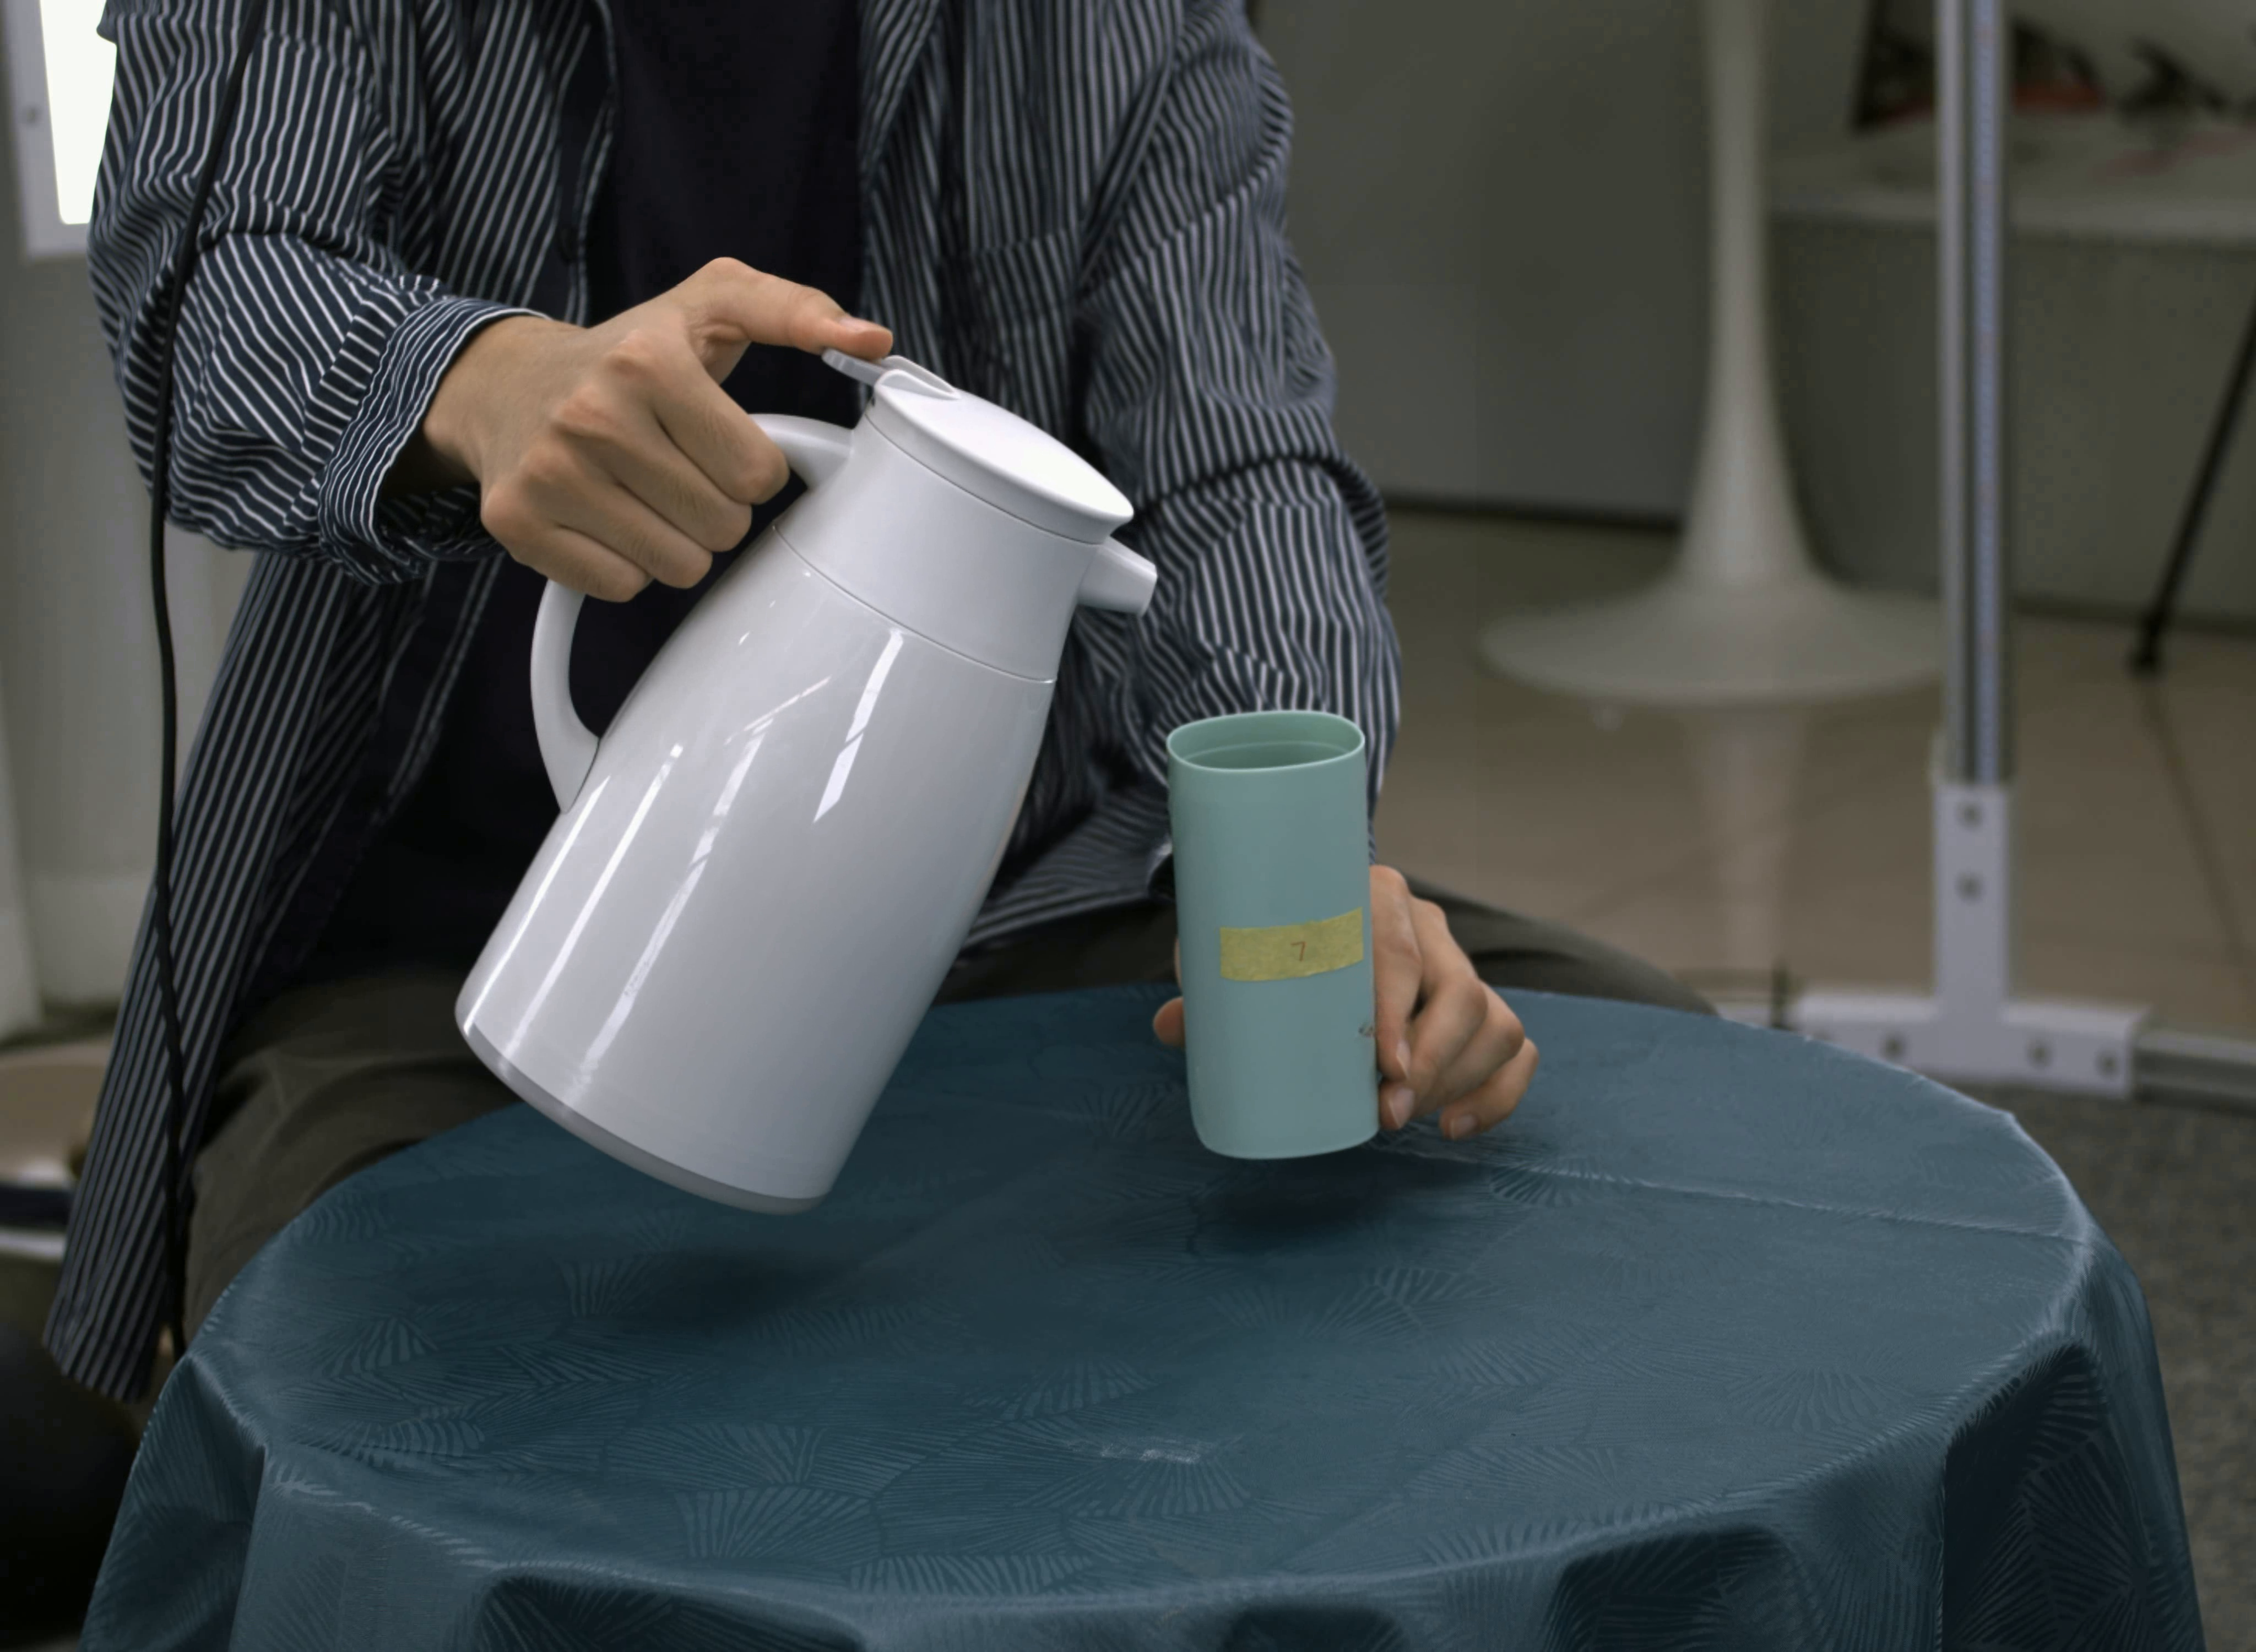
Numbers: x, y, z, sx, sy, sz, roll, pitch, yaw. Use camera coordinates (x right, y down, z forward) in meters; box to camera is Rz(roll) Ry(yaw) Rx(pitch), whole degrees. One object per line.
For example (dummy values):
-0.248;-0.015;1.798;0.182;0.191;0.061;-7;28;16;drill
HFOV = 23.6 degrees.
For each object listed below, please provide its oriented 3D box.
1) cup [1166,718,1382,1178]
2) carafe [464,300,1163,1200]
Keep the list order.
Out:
0.047;0.037;1.705;0.066;0.134;0.067;-4;16;0;cup
-0.107;-0.034;1.655;0.165;0.251;0.133;26;13;-11;carafe
